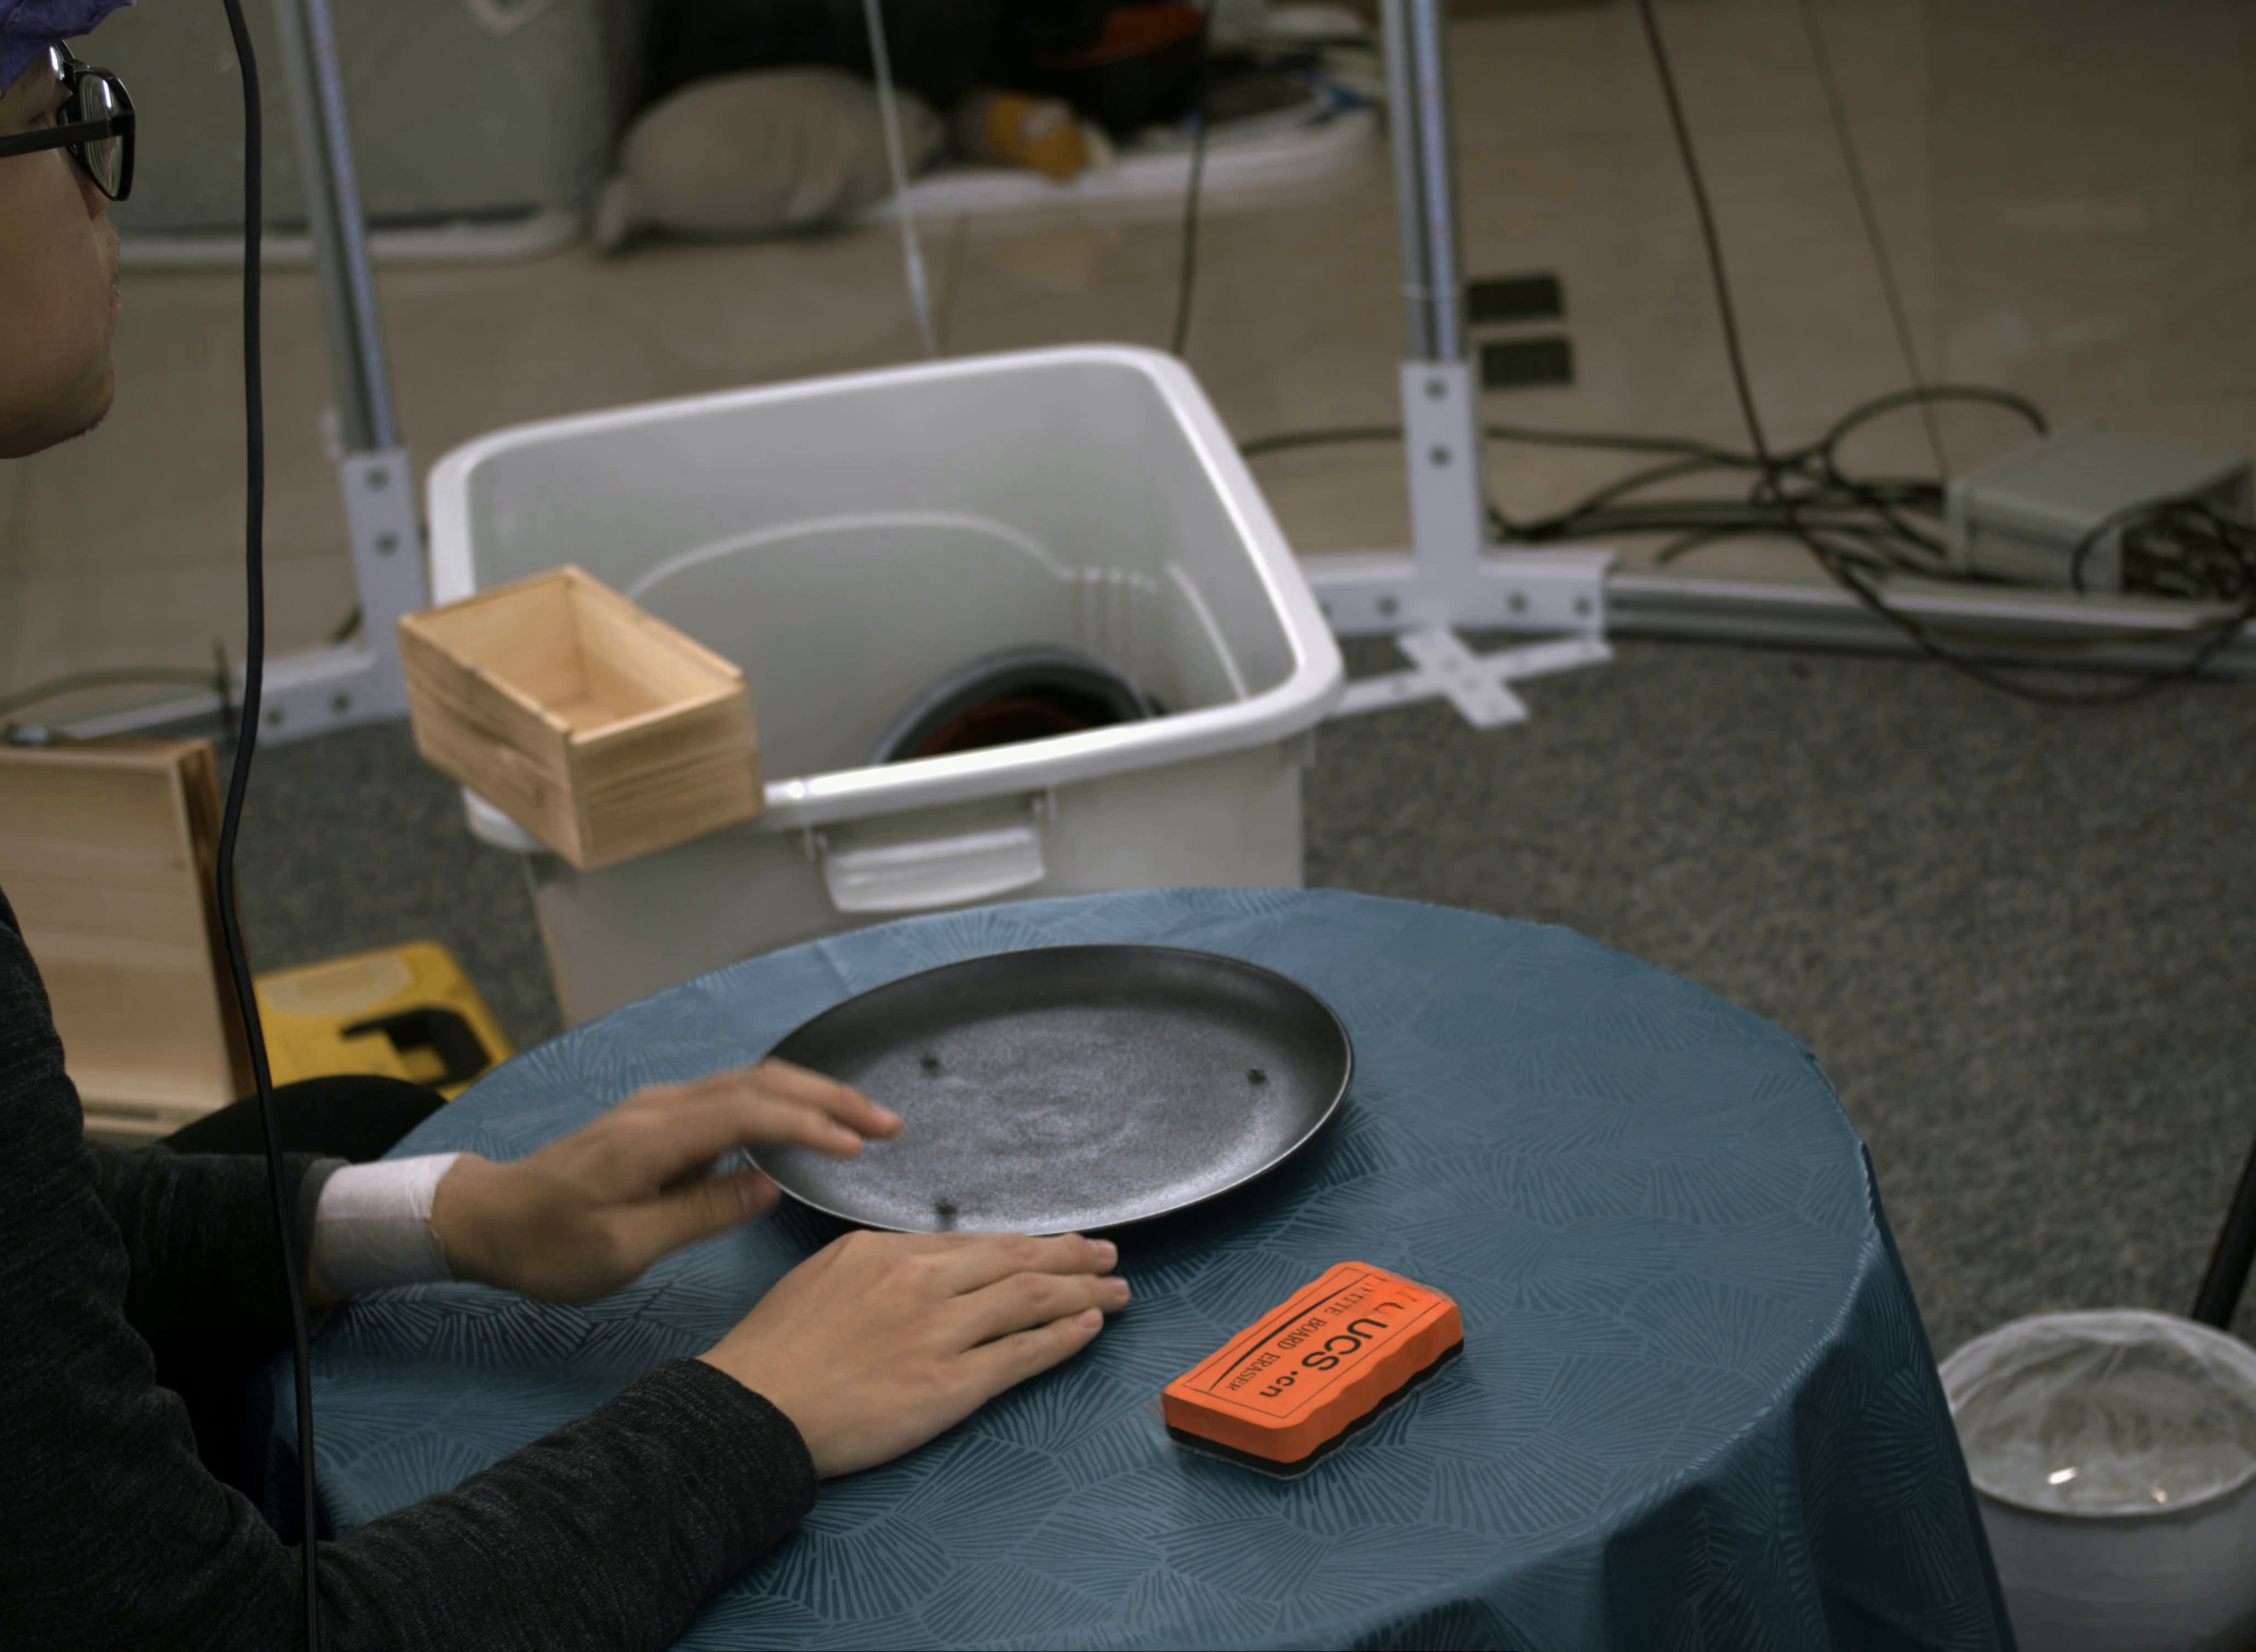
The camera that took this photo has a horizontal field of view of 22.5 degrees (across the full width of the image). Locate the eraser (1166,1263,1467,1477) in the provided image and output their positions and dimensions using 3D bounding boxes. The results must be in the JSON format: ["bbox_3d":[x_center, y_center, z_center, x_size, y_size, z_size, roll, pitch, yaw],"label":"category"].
[{"bbox_3d":[0.066,0.190,1.993,0.058,0.023,0.107,13,31,40],"label":"eraser"}]

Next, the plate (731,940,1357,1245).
[{"bbox_3d":[-0.032,0.108,2.195,0.244,0.024,0.241,-5,25,3],"label":"plate"}]
